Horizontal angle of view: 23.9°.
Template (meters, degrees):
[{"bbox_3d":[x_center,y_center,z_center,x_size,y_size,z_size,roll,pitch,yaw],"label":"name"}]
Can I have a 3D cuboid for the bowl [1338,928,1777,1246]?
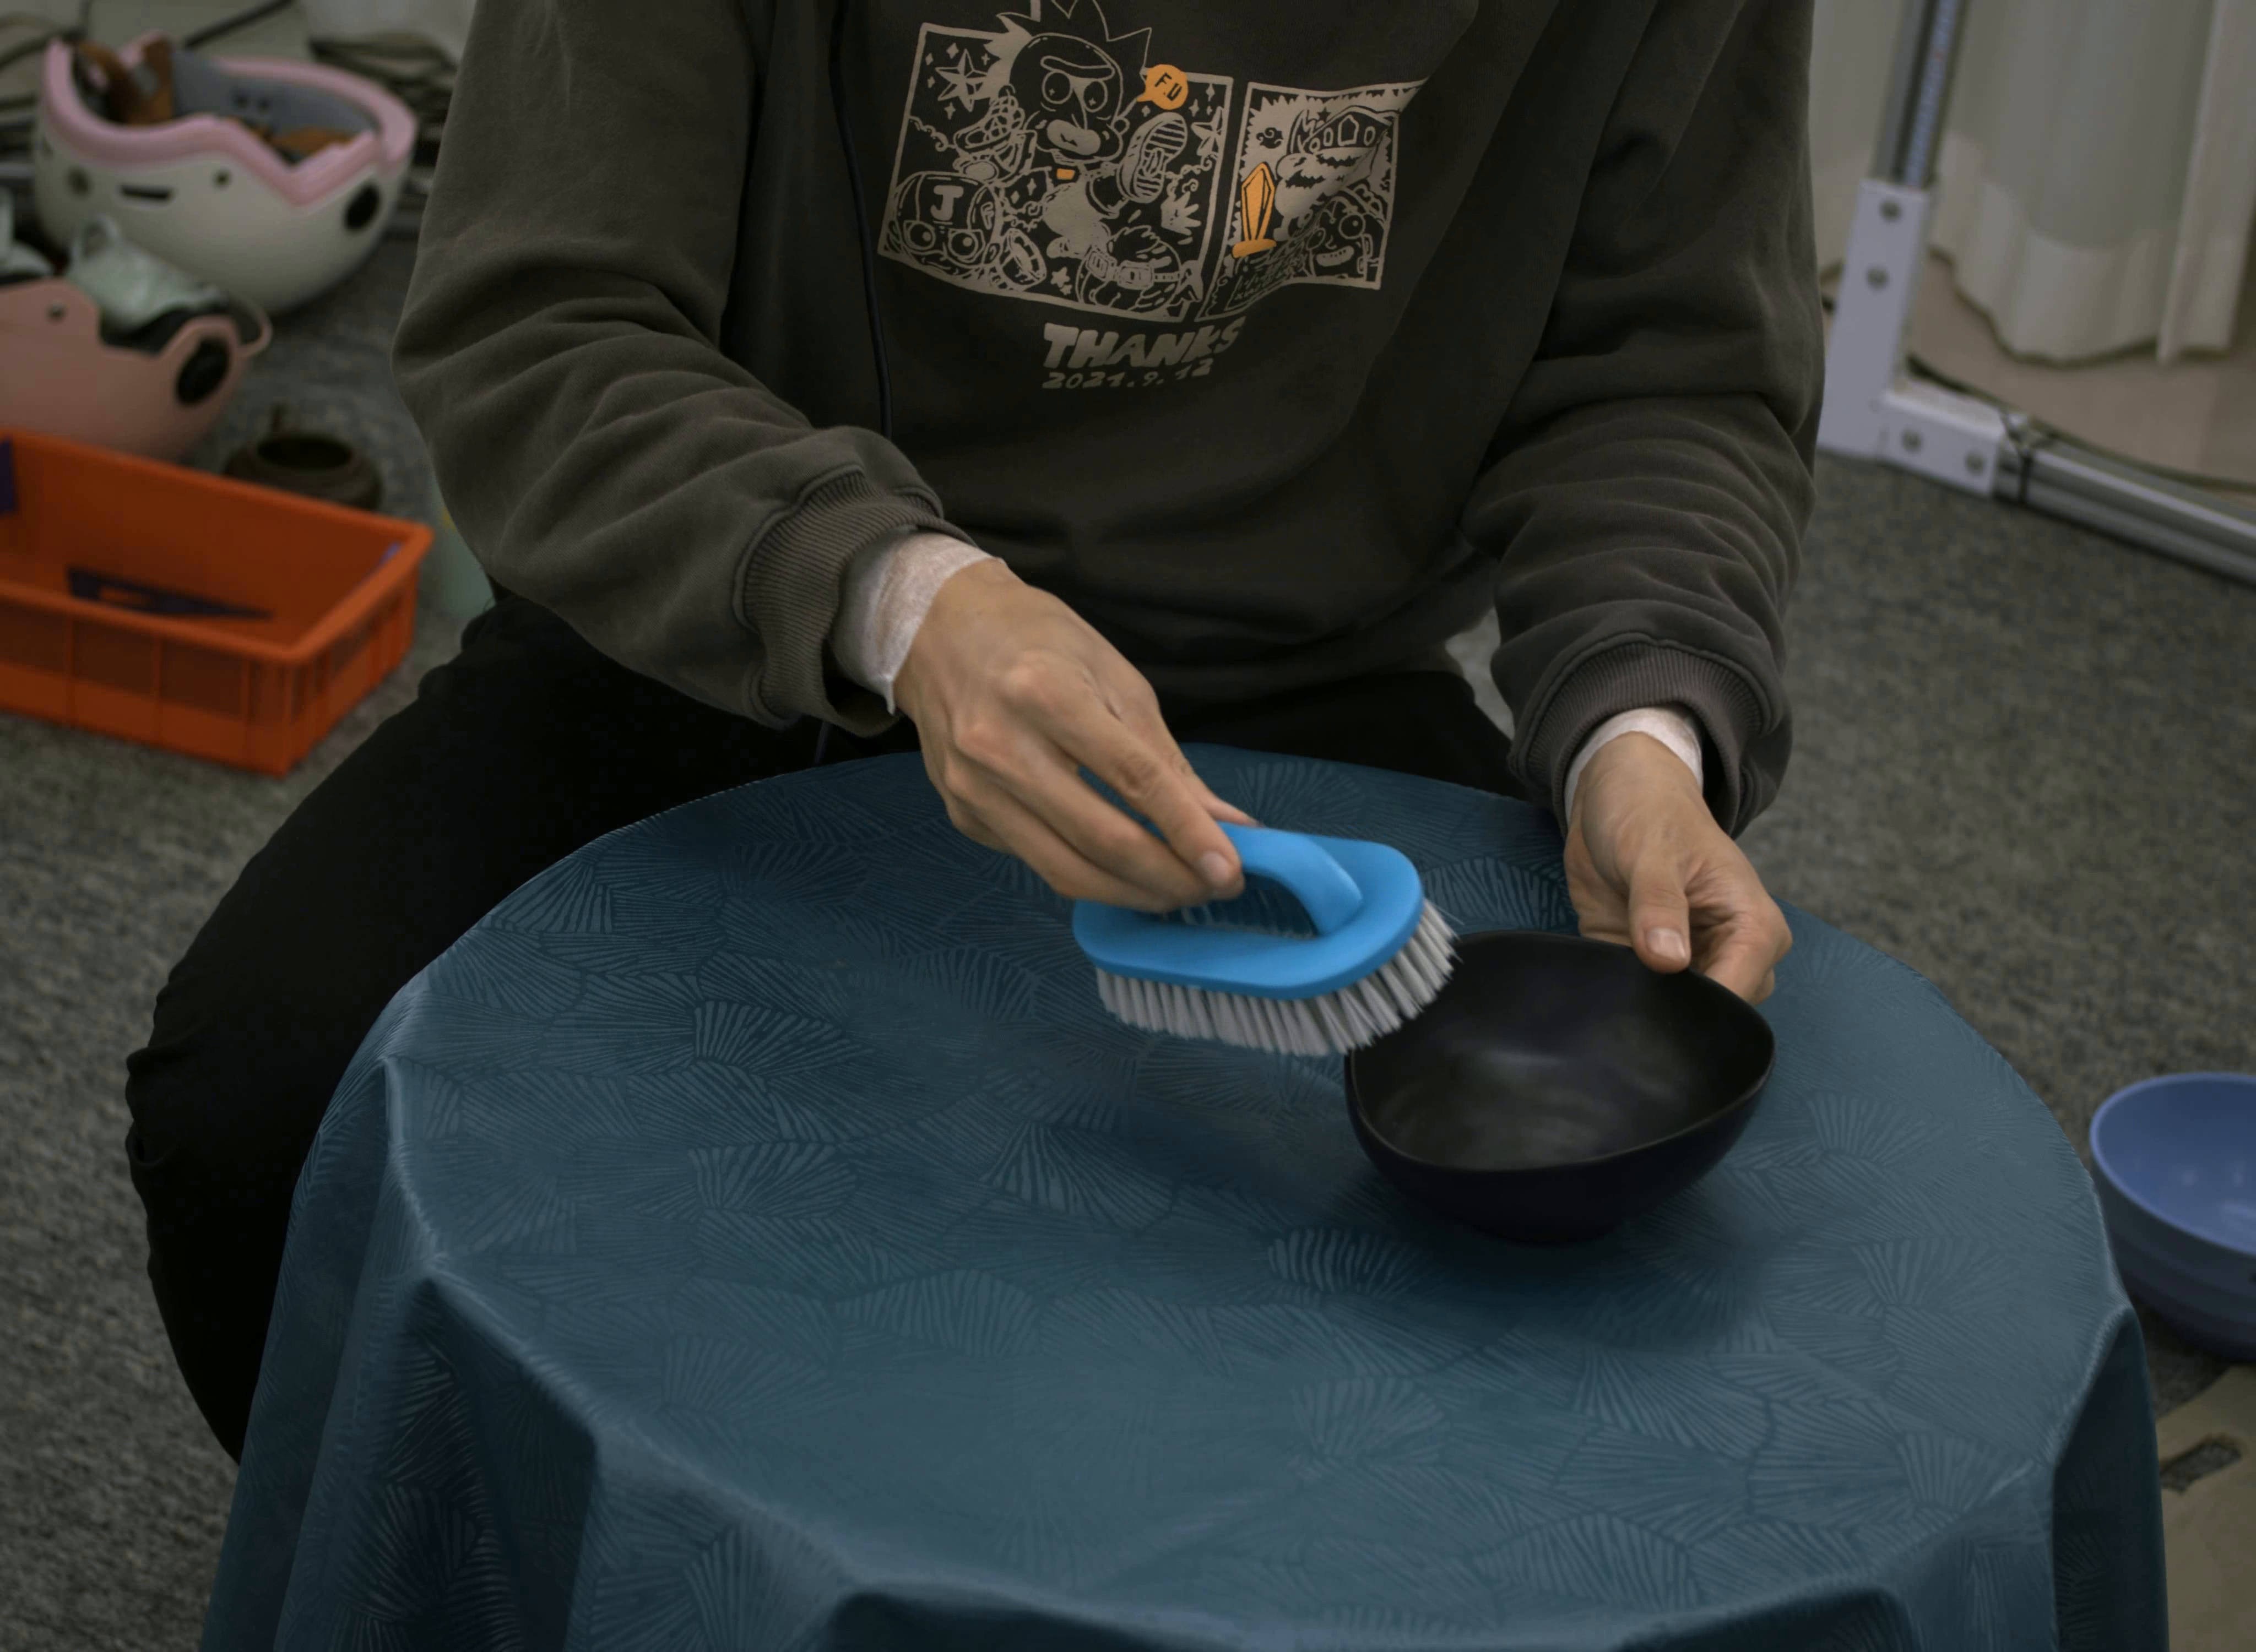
[{"bbox_3d":[0.144,0.099,1.815,0.138,0.066,0.170,24,33,32],"label":"bowl"}]

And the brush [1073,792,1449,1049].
[{"bbox_3d":[0.037,0.020,1.810,0.142,0.063,0.084,9,51,42],"label":"brush"}]
